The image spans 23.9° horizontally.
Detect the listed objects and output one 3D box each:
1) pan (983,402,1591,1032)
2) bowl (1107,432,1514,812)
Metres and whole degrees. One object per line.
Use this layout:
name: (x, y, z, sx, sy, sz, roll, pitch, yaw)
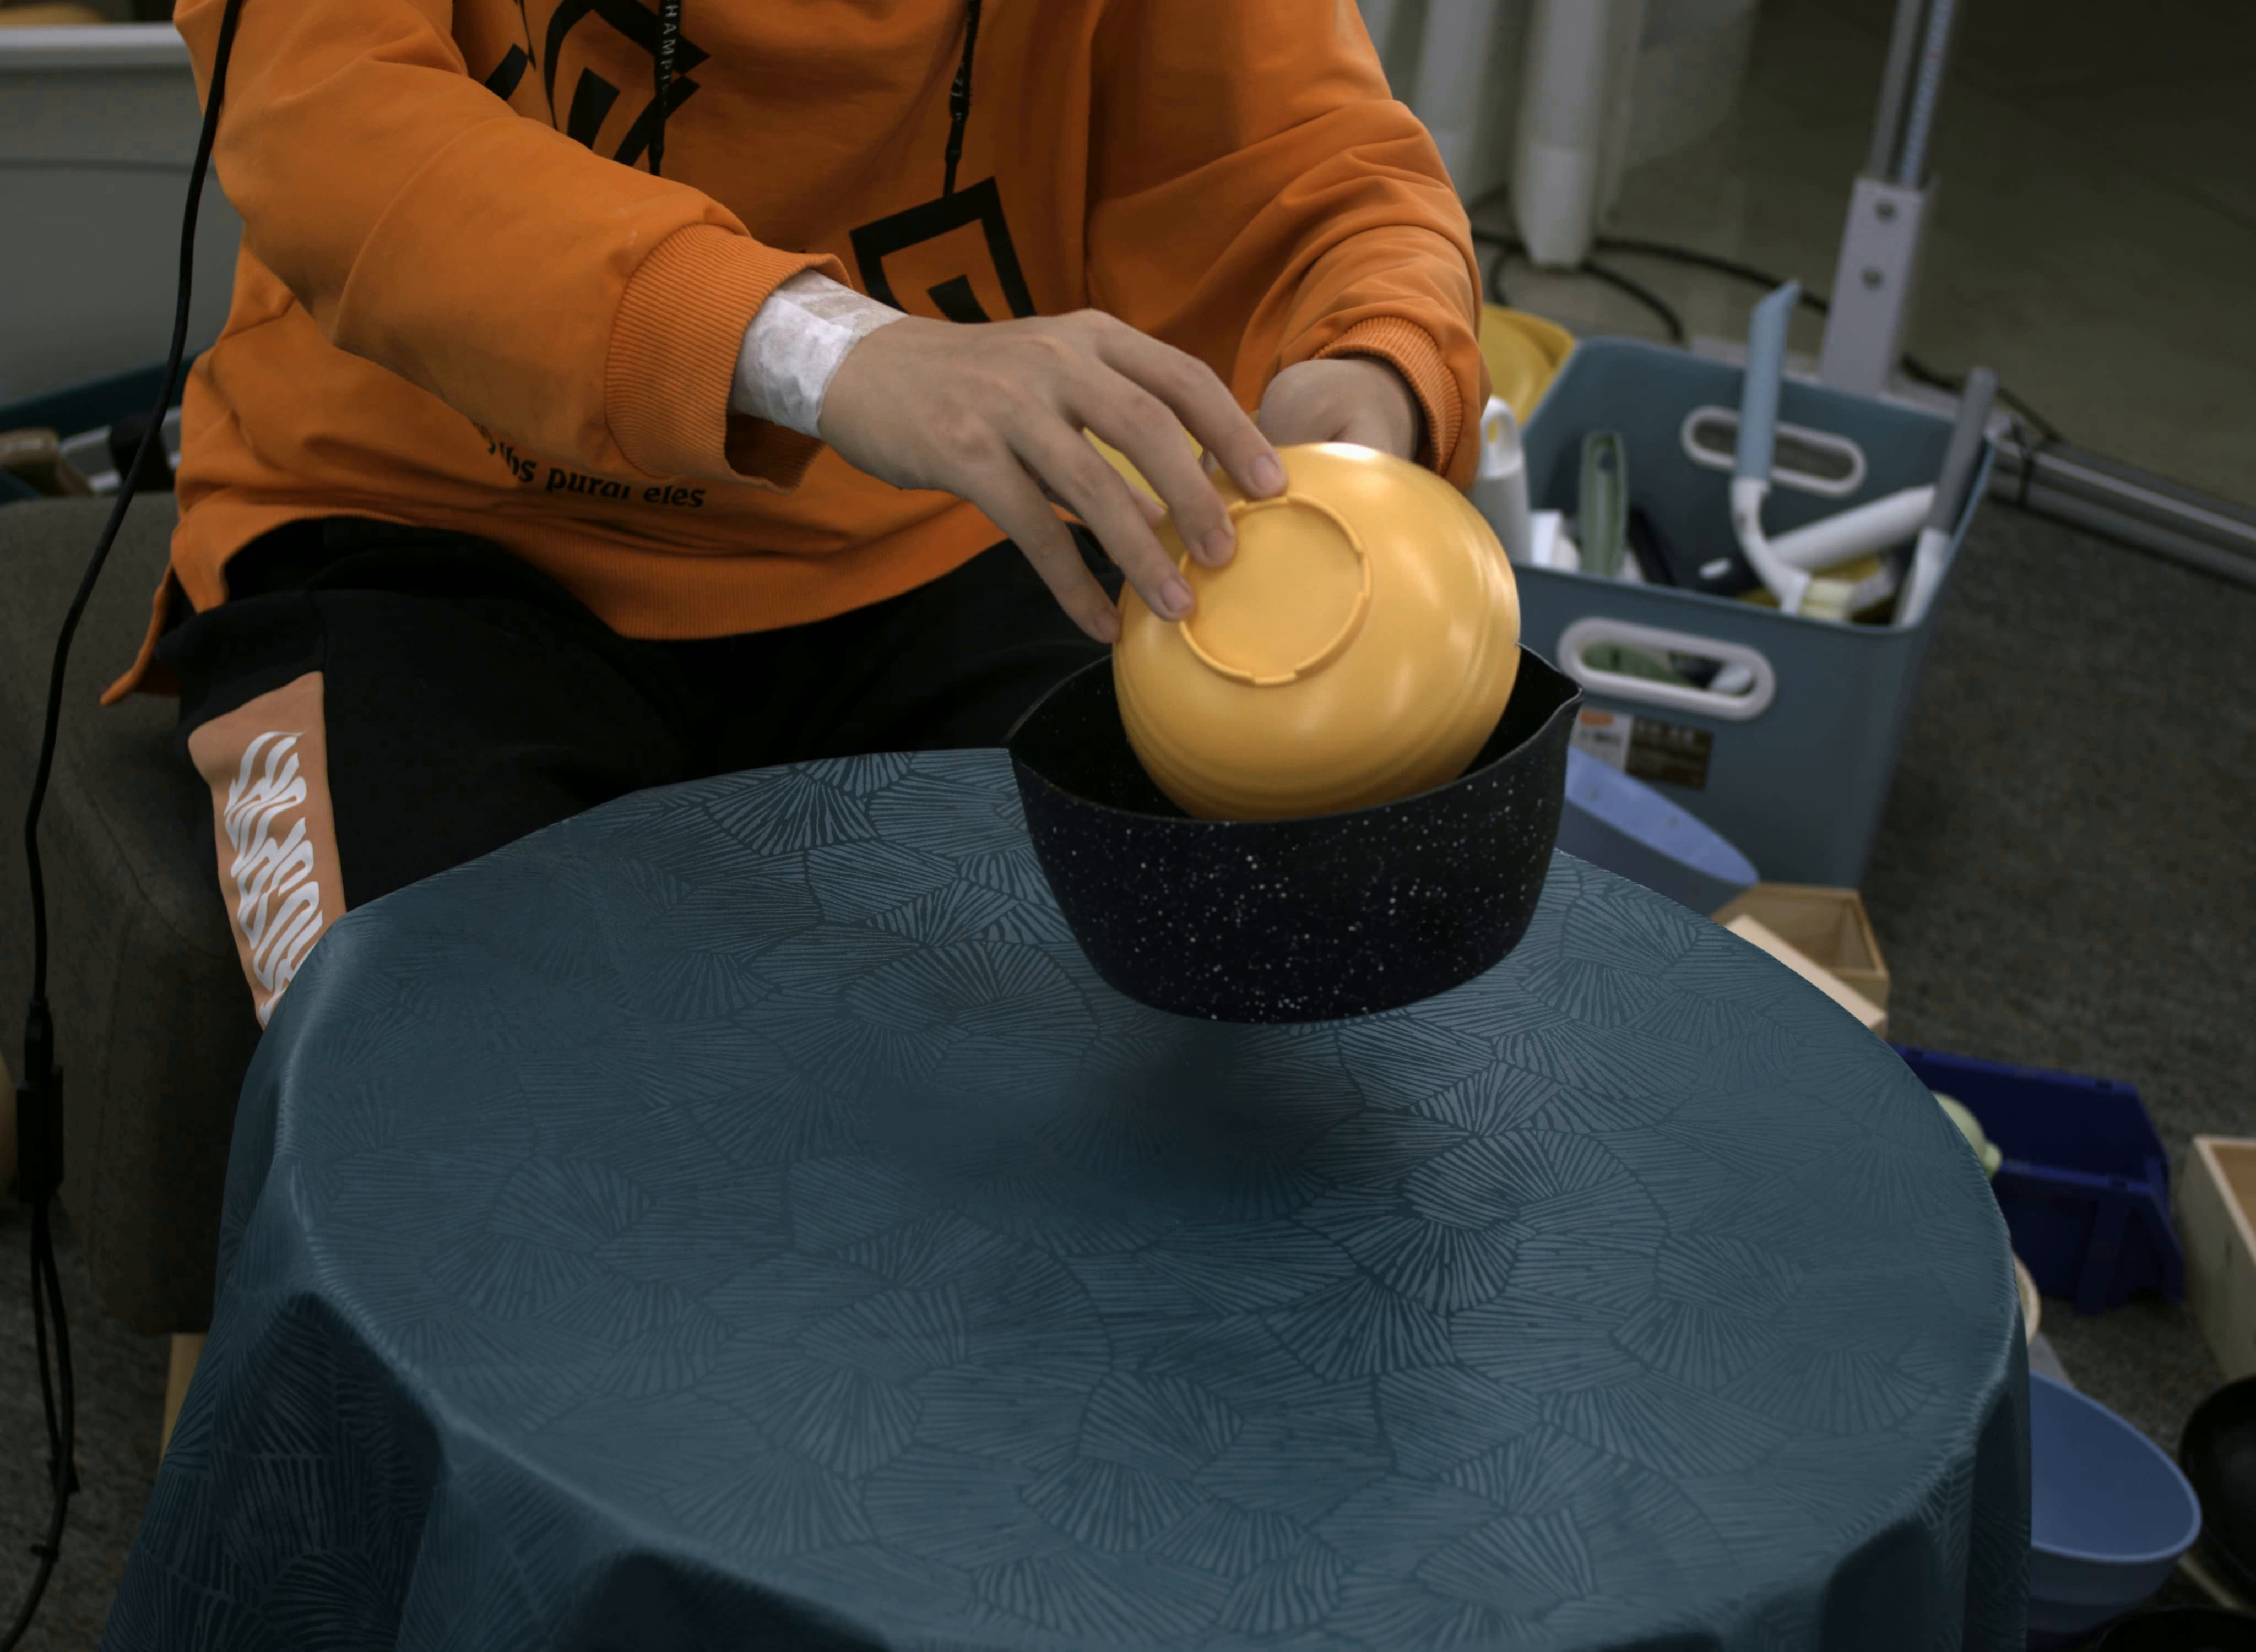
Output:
pan: (0.055, -0.042, 1.876, 0.207, 0.108, 0.345, -7, 24, 2)
bowl: (0.053, -0.074, 1.779, 0.146, 0.146, 0.059, 21, -12, 25)
